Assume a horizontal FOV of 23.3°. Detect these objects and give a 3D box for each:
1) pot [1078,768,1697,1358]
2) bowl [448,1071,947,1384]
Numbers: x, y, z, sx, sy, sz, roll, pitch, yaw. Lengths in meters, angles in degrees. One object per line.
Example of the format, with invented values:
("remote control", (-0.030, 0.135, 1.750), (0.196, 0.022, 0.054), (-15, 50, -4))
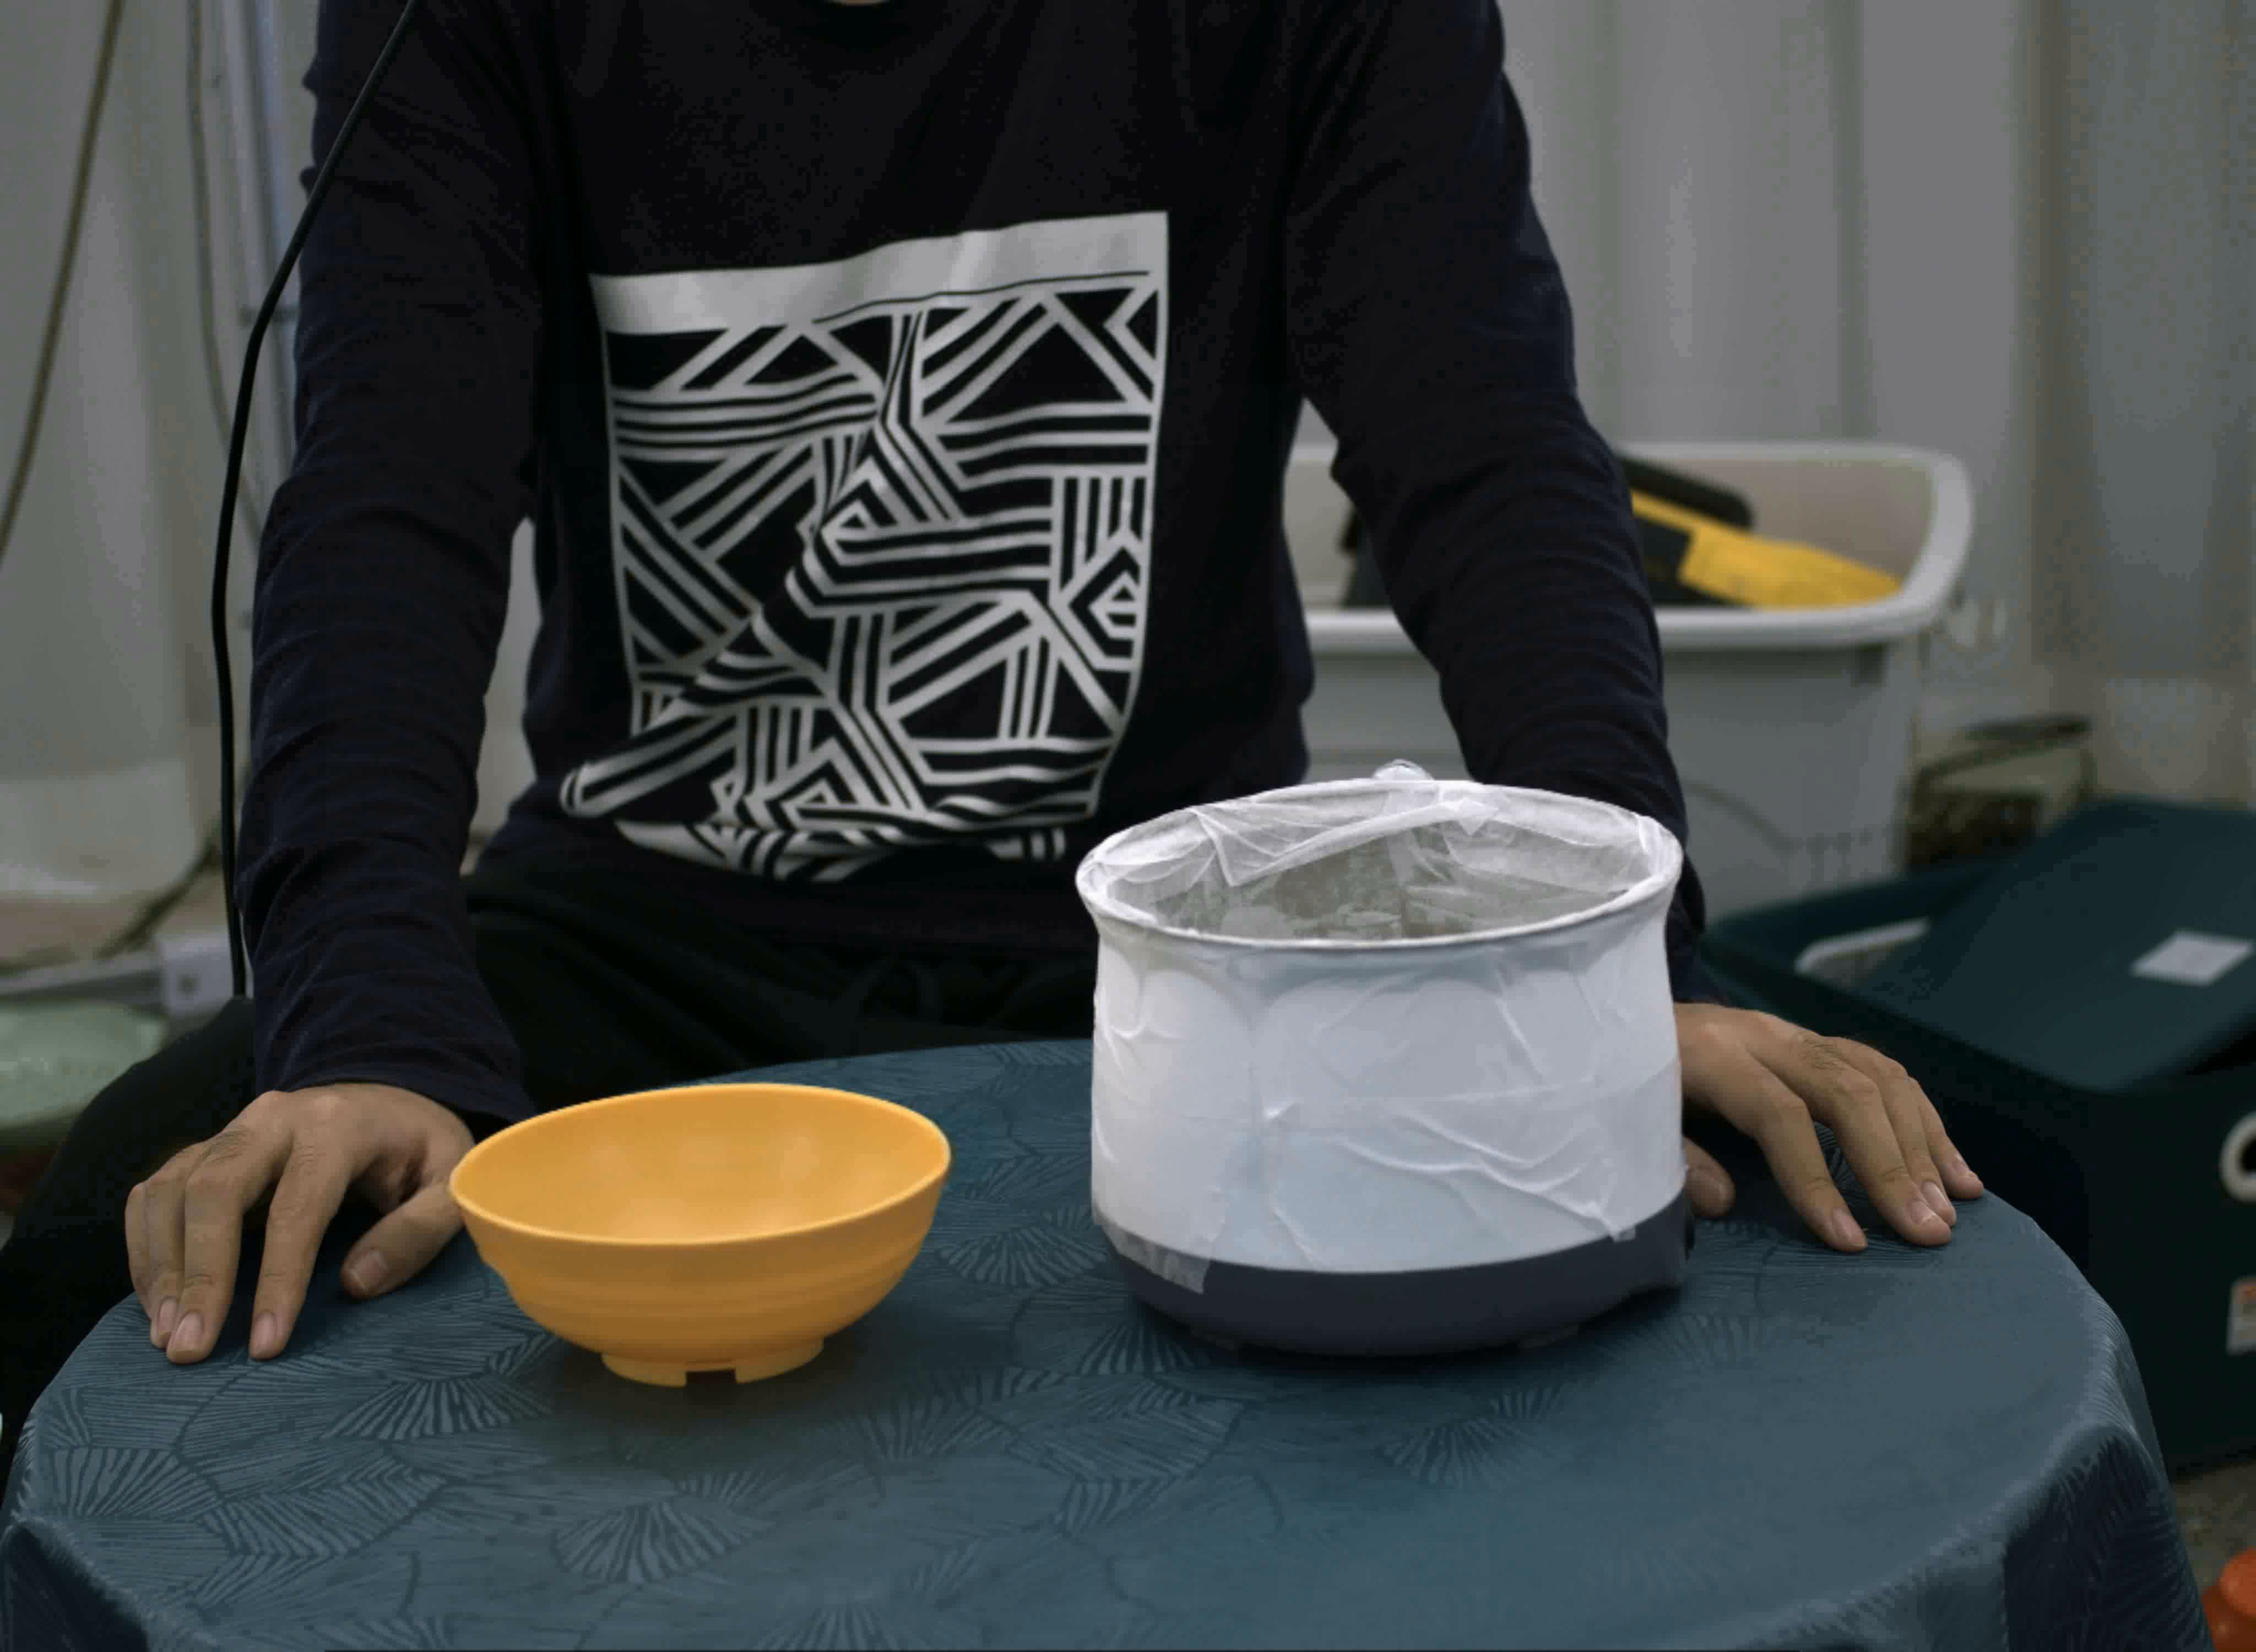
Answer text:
("pot", (0.079, 0.066, 1.631), (0.178, 0.136, 0.235), (-1, 13, 6))
("bowl", (-0.124, 0.122, 1.590), (0.145, 0.060, 0.146), (-1, 16, 0))
